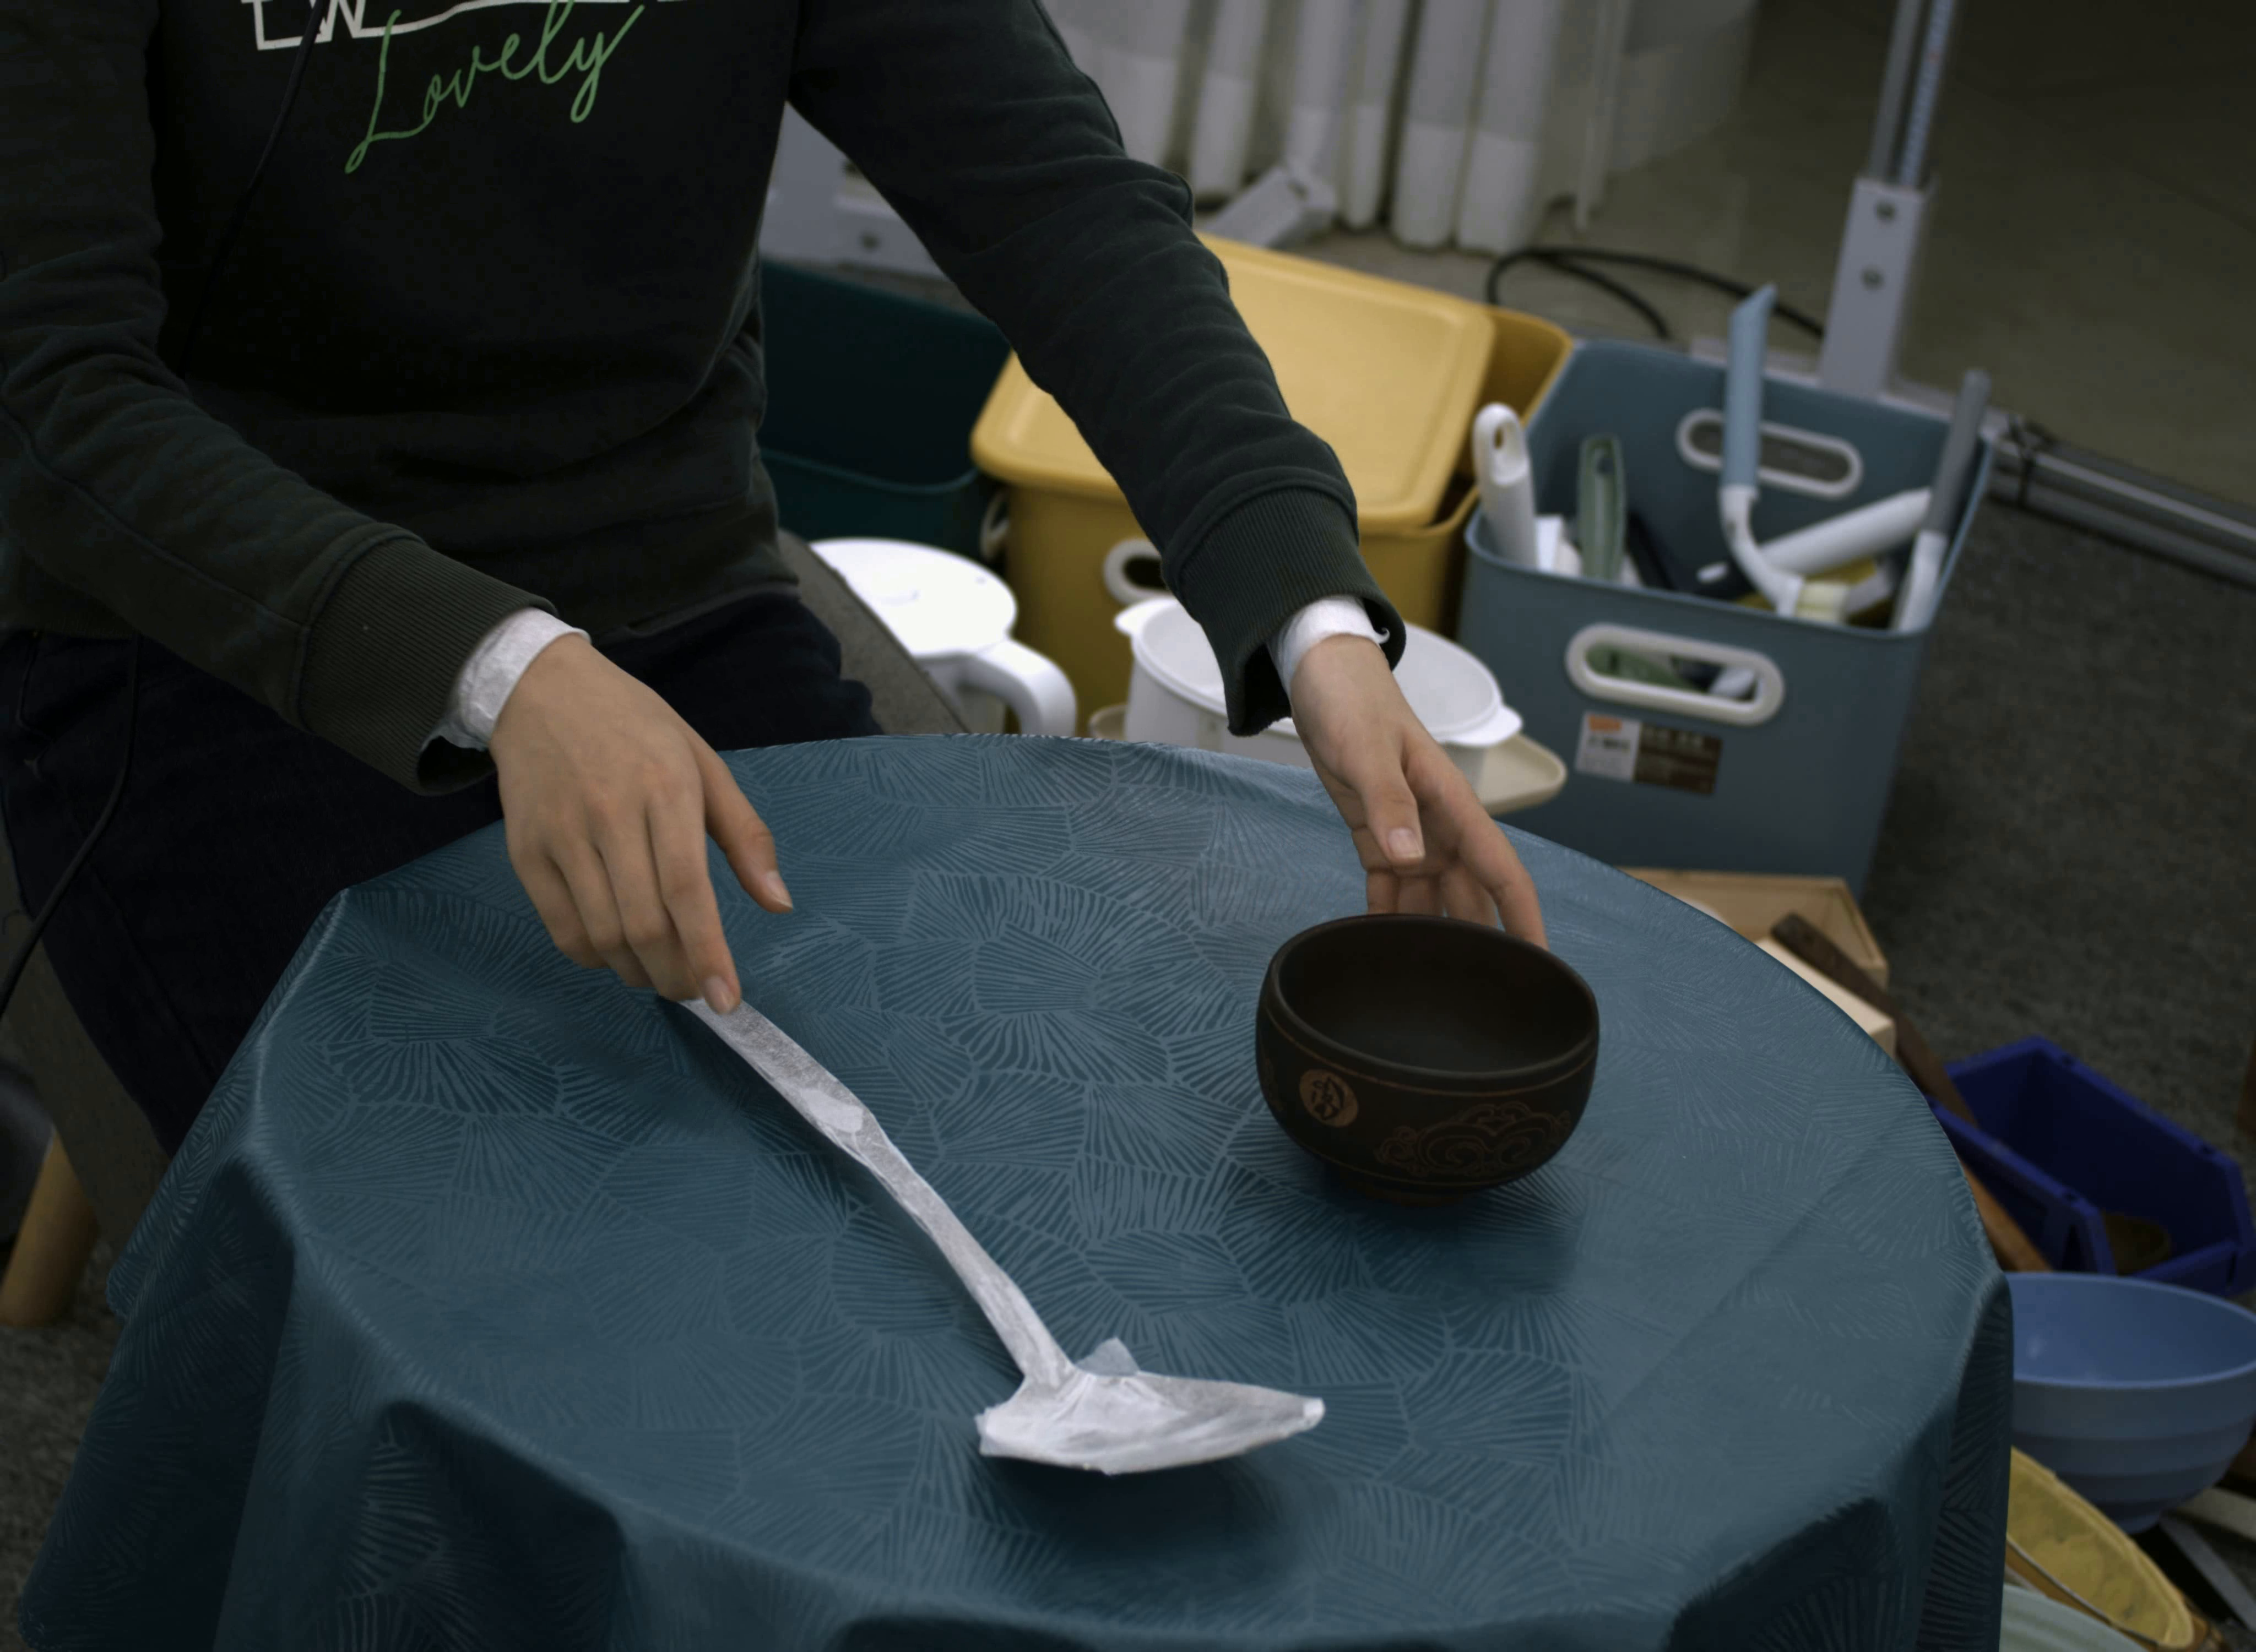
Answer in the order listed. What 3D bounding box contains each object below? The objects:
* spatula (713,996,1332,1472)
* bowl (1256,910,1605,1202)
[{"bbox_3d":[-0.059,0.125,1.742,0.098,0.044,0.368,-10,31,-27],"label":"spatula"},{"bbox_3d":[0.101,0.085,1.820,0.117,0.069,0.119,6,25,-3],"label":"bowl"}]
